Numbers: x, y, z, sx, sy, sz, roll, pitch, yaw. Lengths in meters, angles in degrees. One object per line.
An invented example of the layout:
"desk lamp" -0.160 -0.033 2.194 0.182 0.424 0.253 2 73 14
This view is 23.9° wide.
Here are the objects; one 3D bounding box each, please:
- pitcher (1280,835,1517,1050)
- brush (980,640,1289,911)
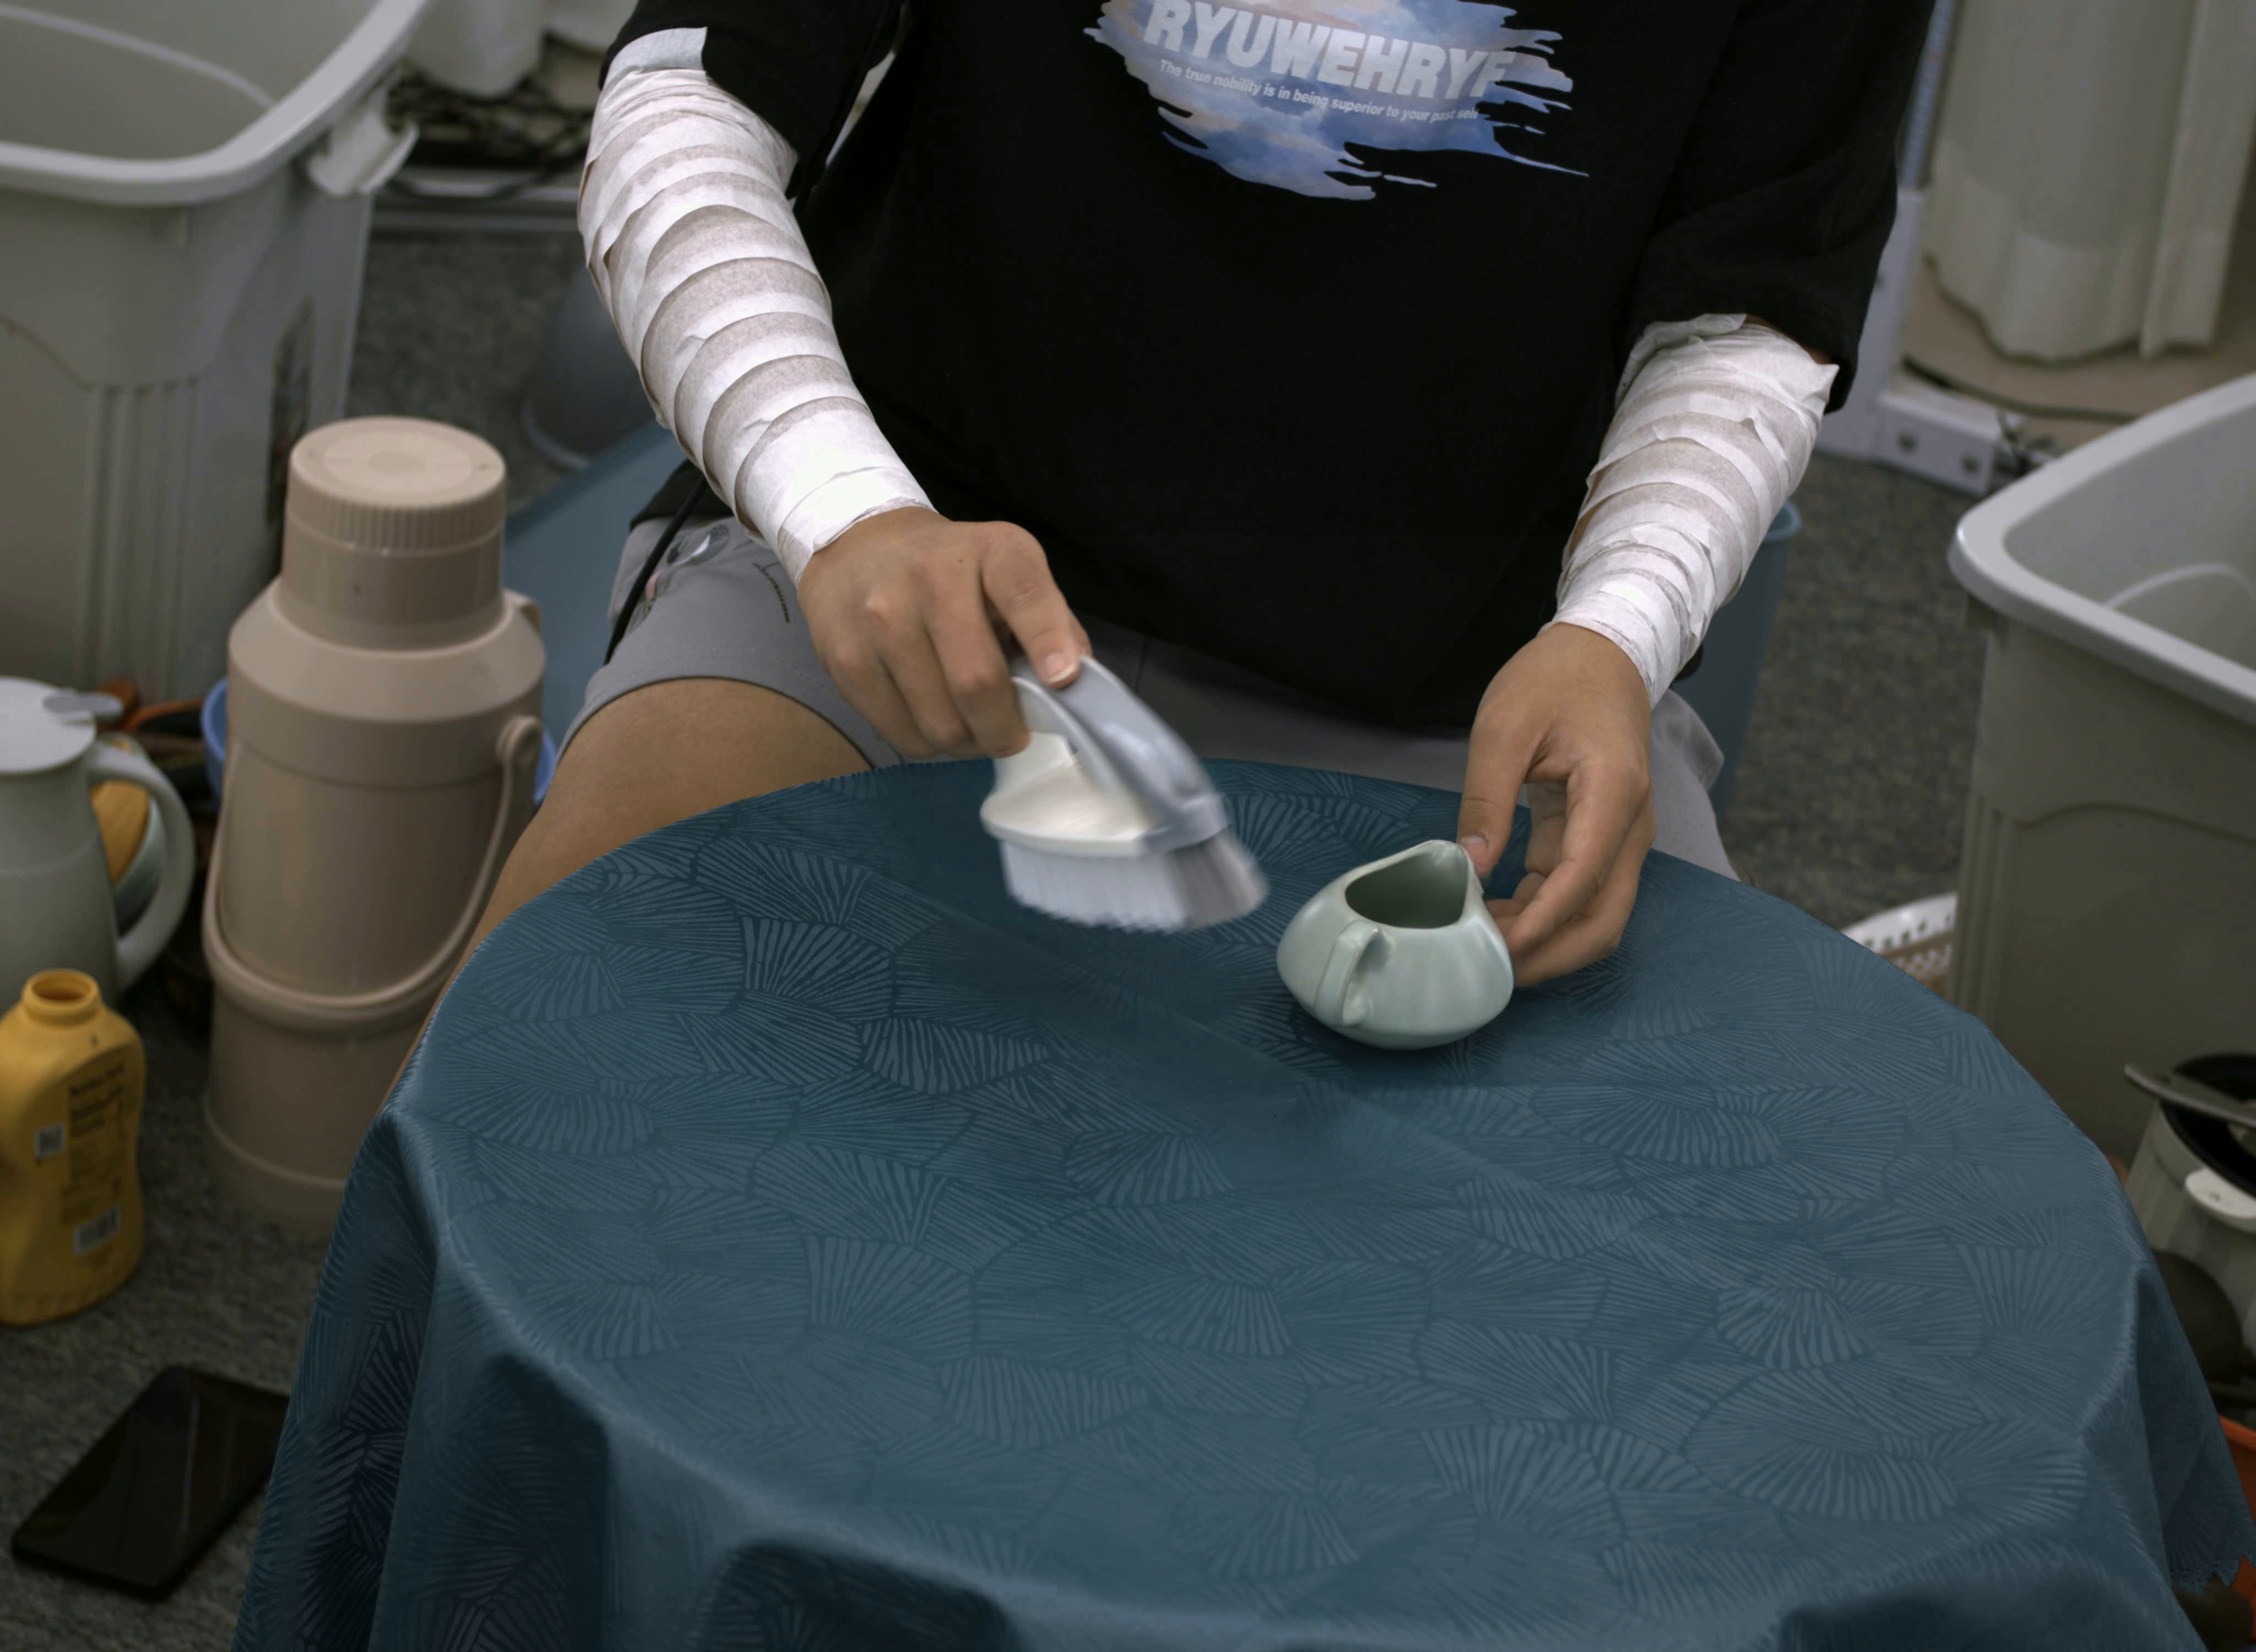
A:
"pitcher" 0.094 0.049 1.910 0.086 0.060 0.108 16 30 18
"brush" -0.002 -0.021 1.841 0.061 0.094 0.176 -36 19 -15
